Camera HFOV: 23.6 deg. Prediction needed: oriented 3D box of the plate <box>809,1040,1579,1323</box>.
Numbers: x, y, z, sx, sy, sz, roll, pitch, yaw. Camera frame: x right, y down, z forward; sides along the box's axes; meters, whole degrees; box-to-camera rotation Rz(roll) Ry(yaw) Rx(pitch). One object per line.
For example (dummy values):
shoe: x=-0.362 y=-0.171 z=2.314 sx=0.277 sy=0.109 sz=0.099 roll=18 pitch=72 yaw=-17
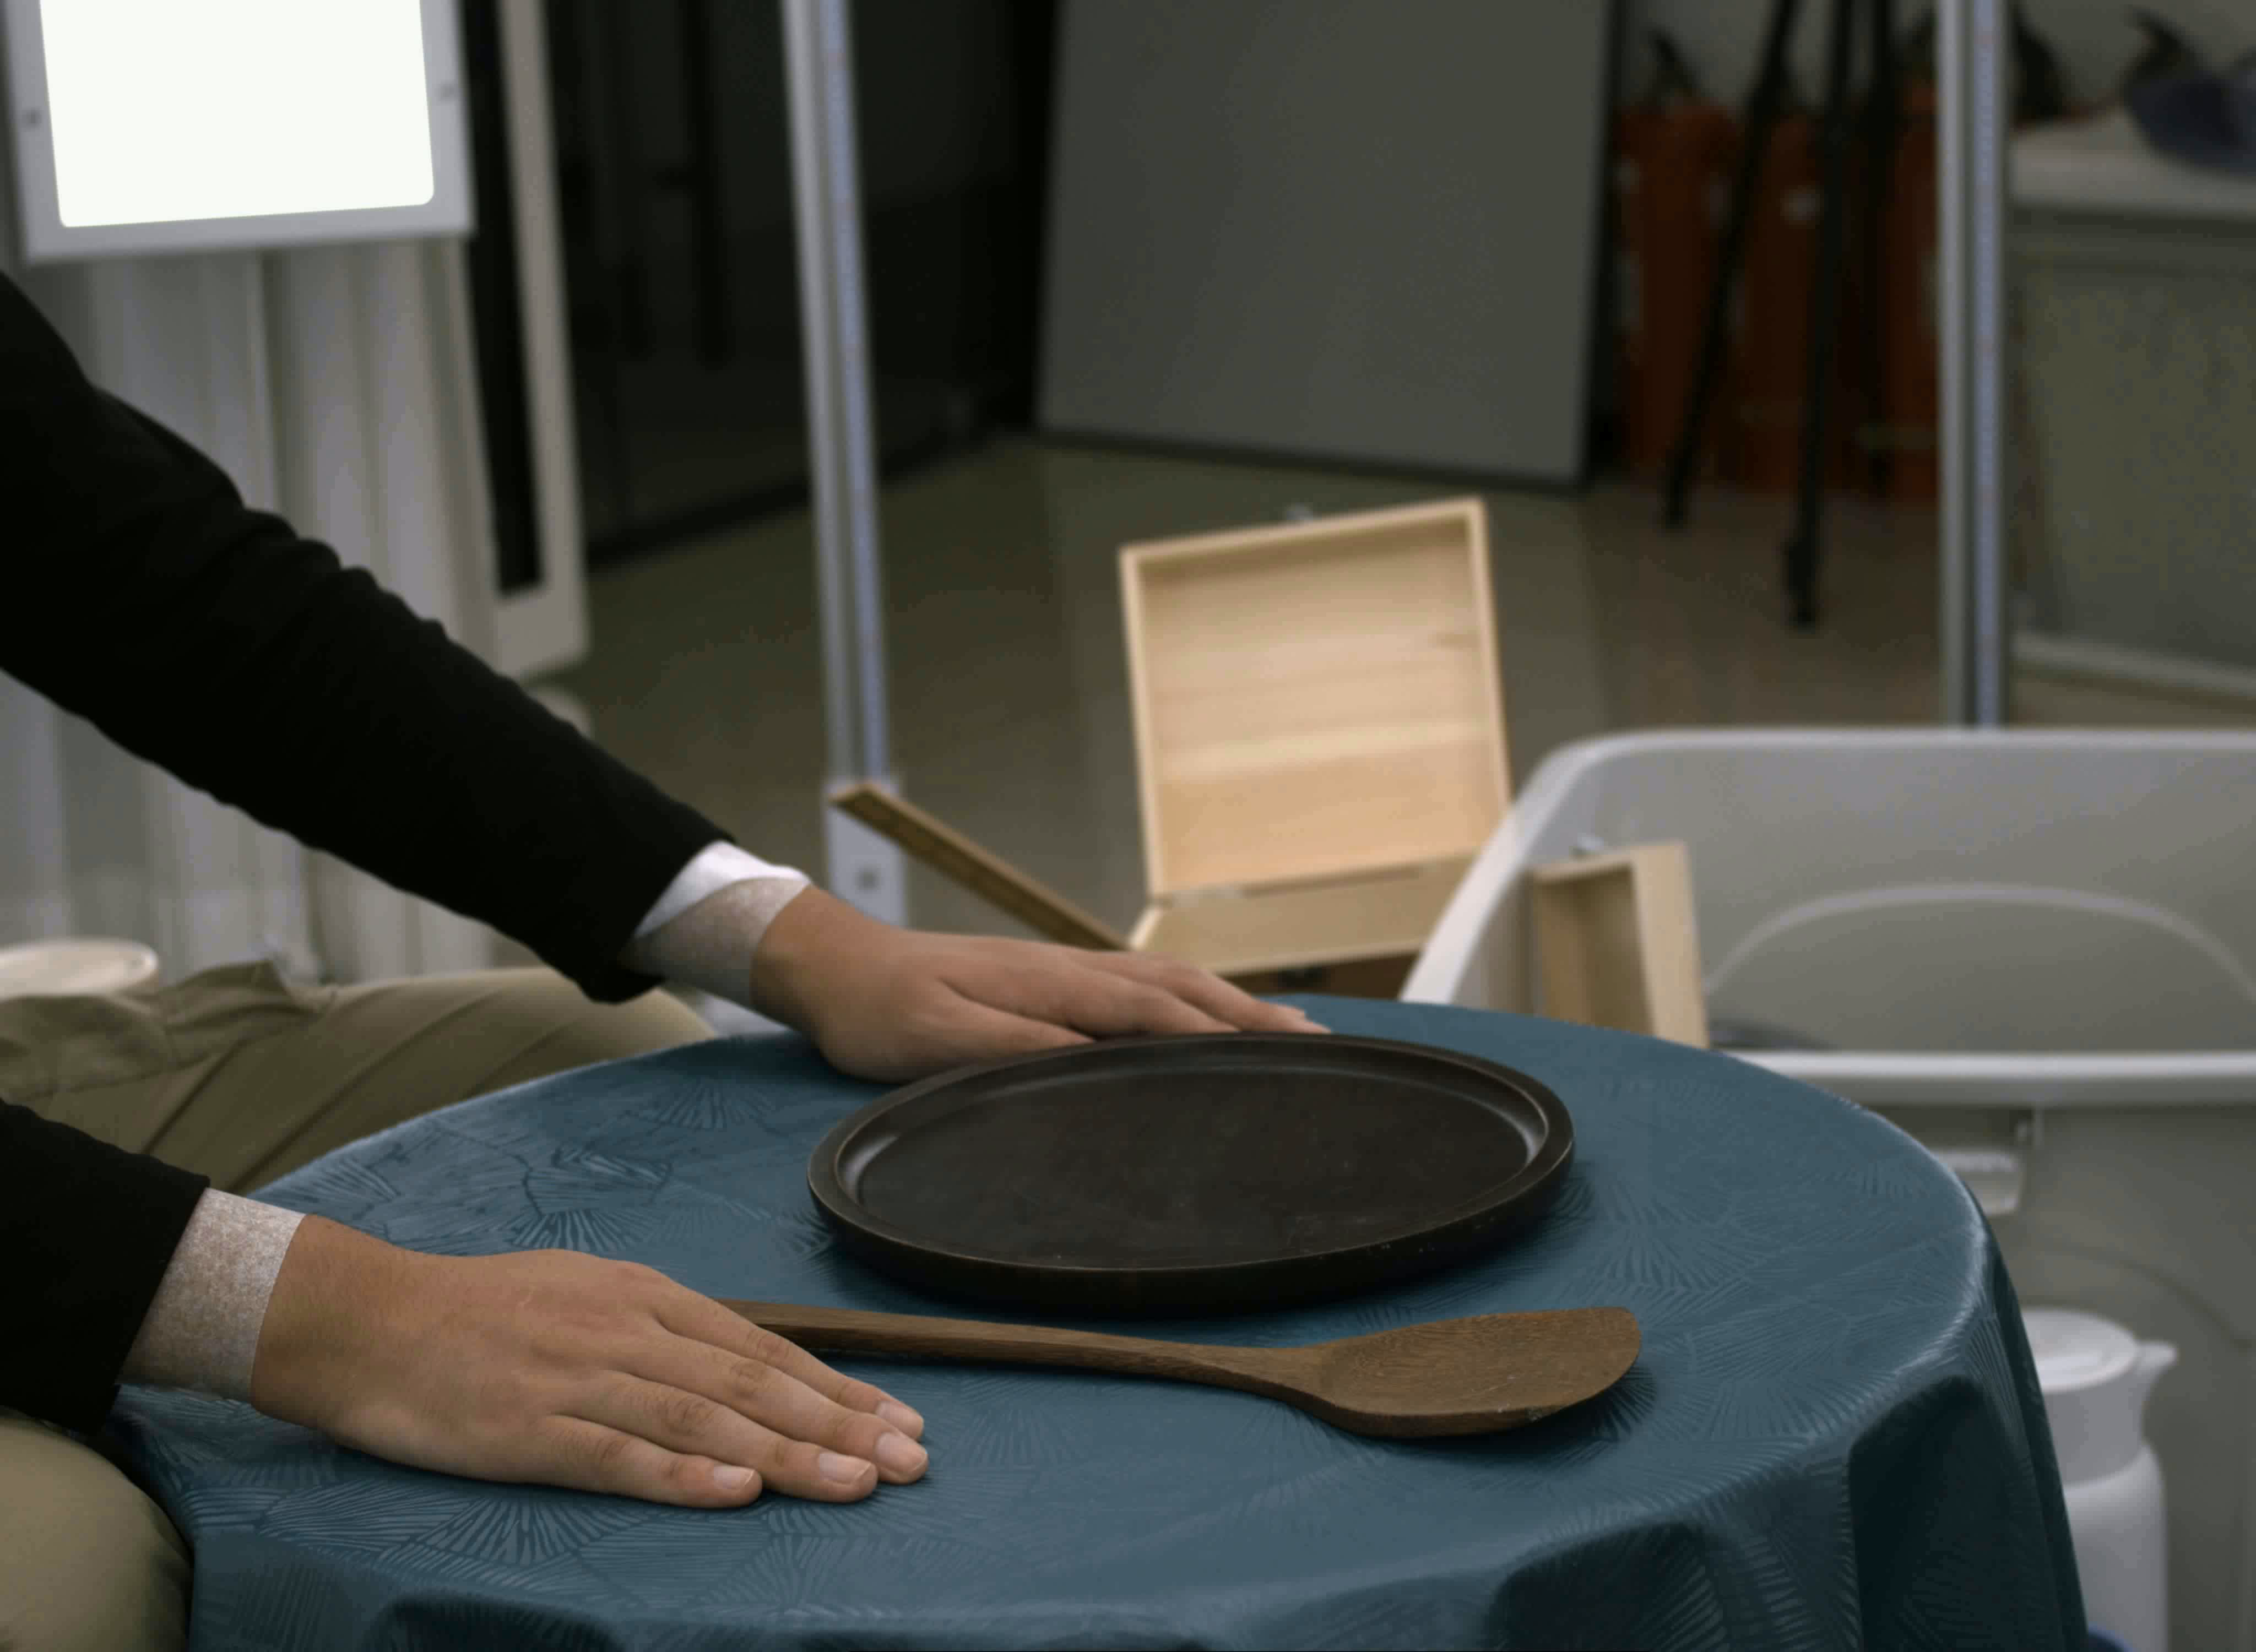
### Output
plate: x=0.022 y=0.112 z=1.749 sx=0.251 sy=0.029 sz=0.255 roll=-4 pitch=15 yaw=0

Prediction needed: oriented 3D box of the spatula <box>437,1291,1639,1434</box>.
spatula: x=-0.035 y=0.155 z=1.611 sx=0.385 sy=0.016 sz=0.095 roll=1 pitch=14 yaw=22
